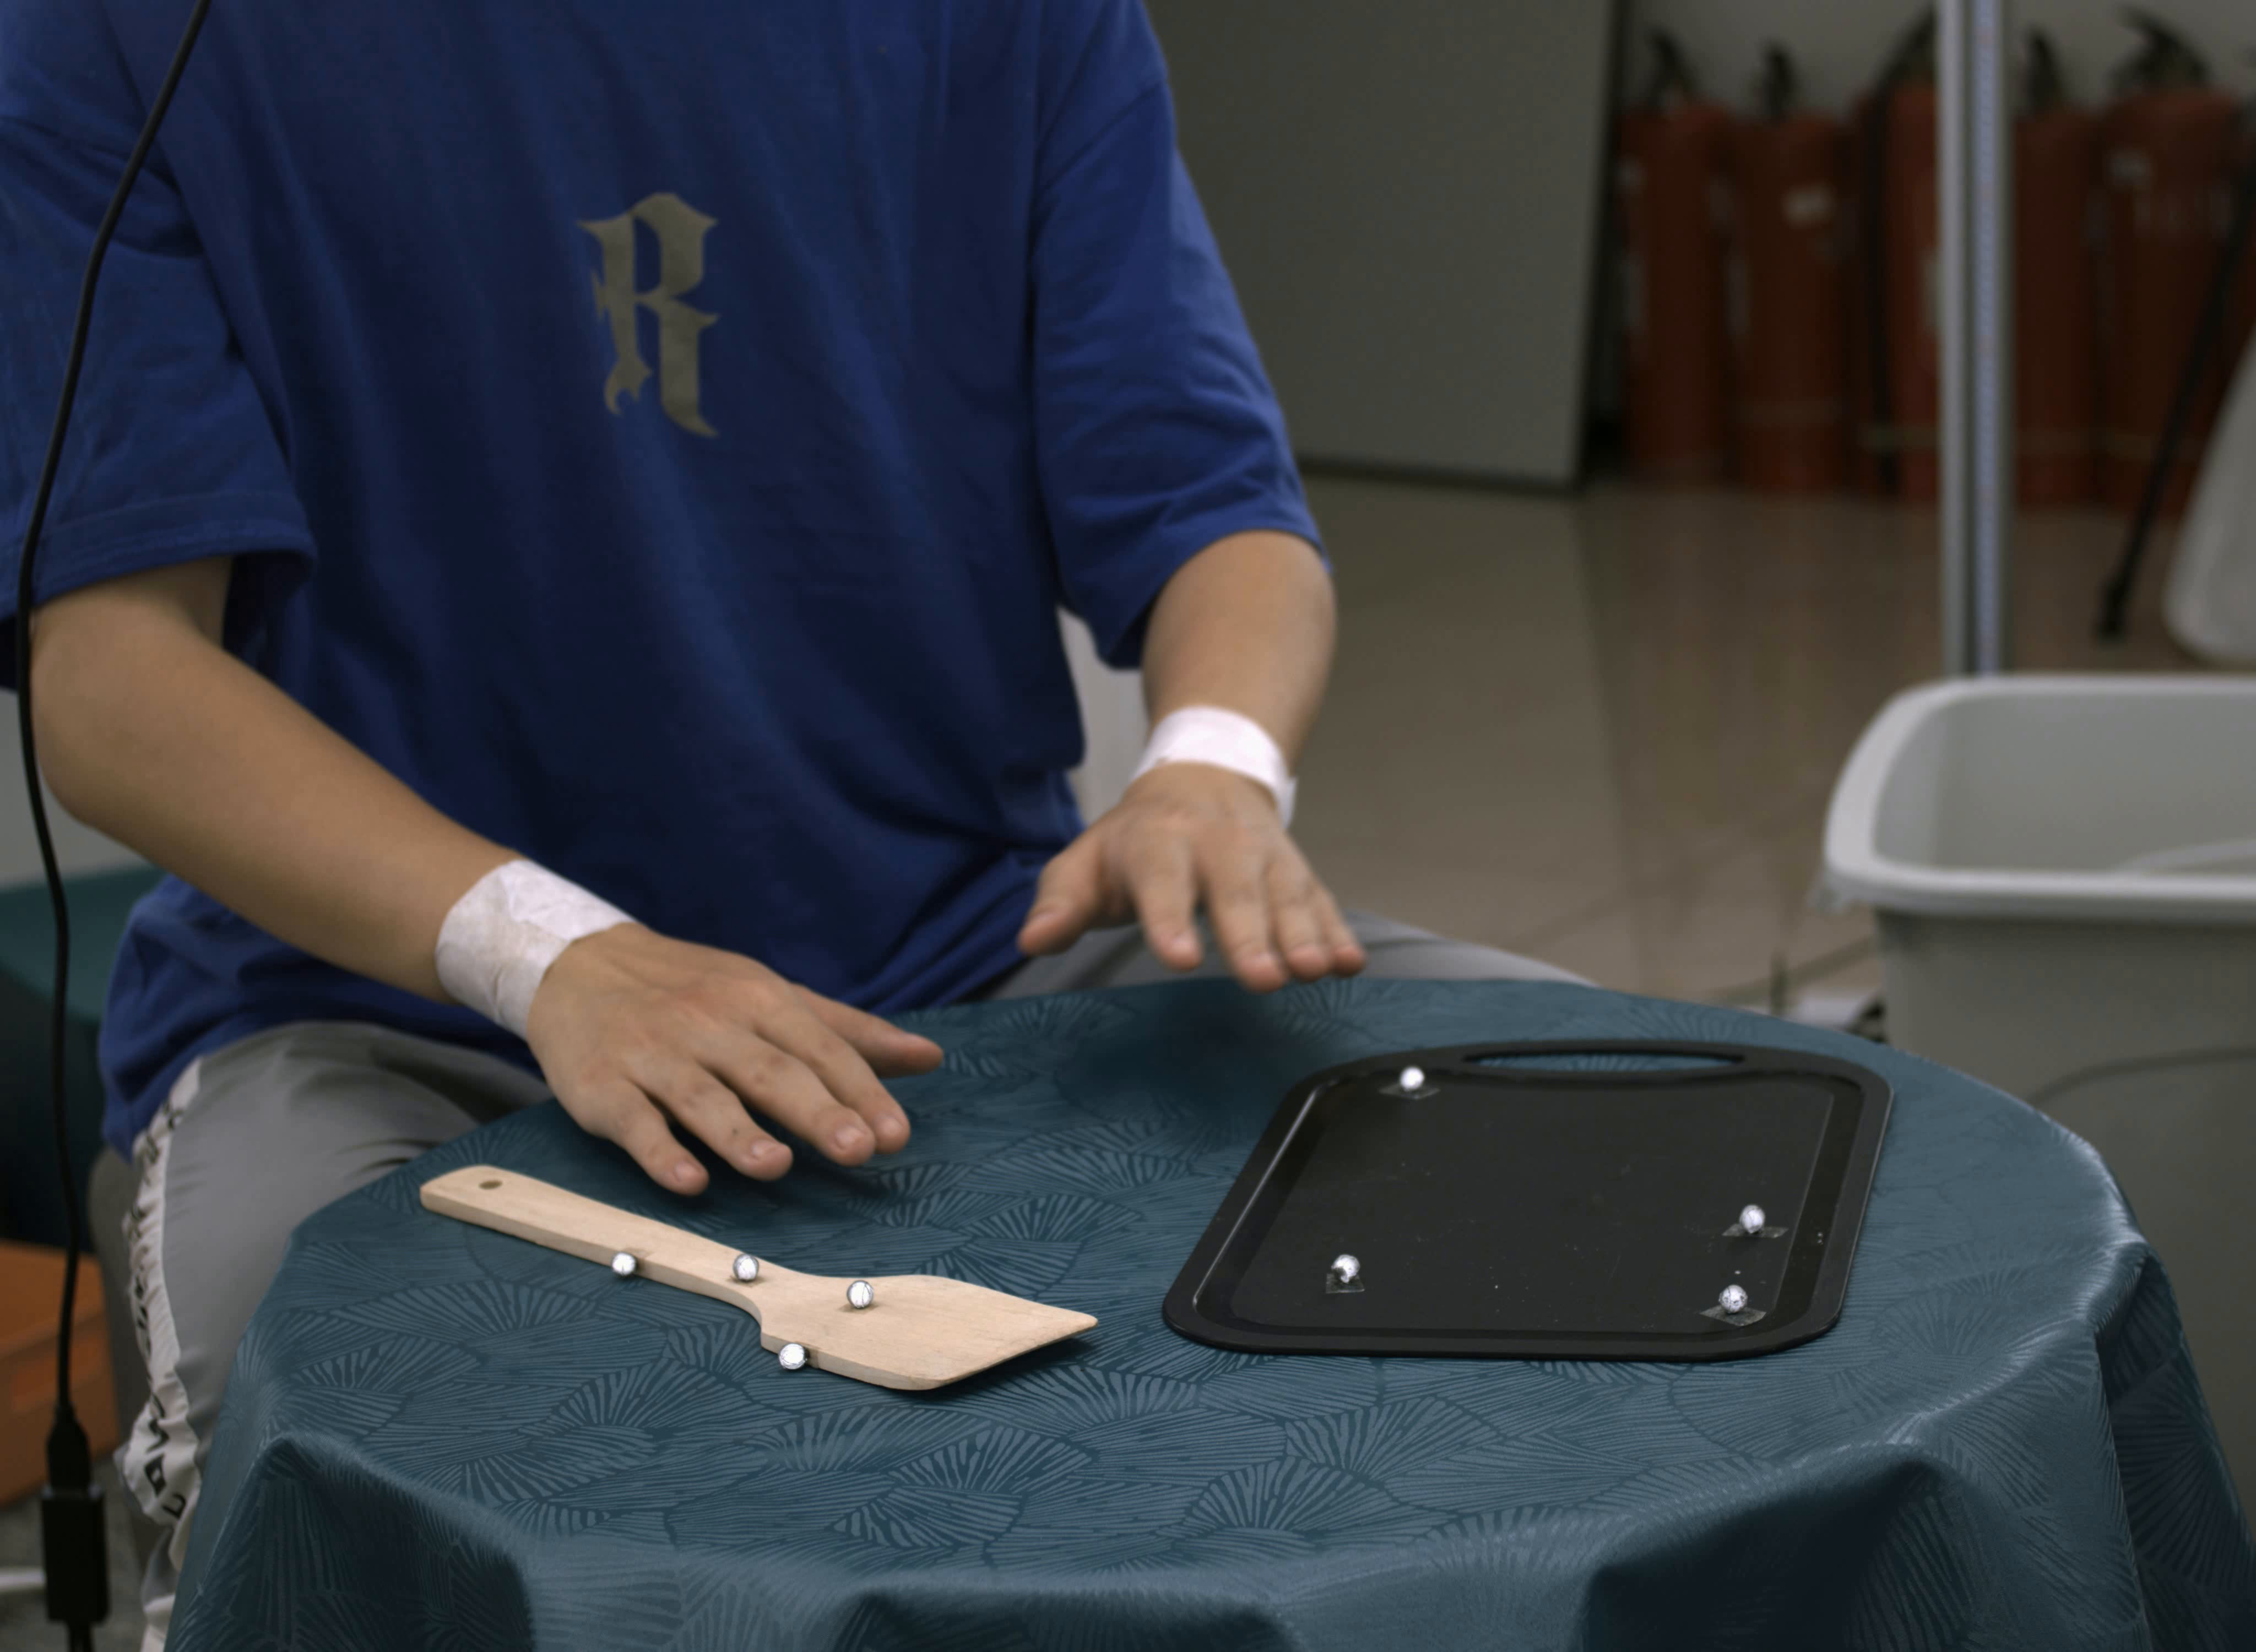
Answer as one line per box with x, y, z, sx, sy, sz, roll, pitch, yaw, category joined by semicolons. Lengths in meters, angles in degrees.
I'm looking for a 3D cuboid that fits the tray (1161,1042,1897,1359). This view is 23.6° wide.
0.136;0.115;1.742;0.210;0.010;0.323;-1;14;14;tray

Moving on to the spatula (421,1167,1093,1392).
-0.132;0.141;1.711;0.071;0.011;0.296;-17;19;-40;spatula
